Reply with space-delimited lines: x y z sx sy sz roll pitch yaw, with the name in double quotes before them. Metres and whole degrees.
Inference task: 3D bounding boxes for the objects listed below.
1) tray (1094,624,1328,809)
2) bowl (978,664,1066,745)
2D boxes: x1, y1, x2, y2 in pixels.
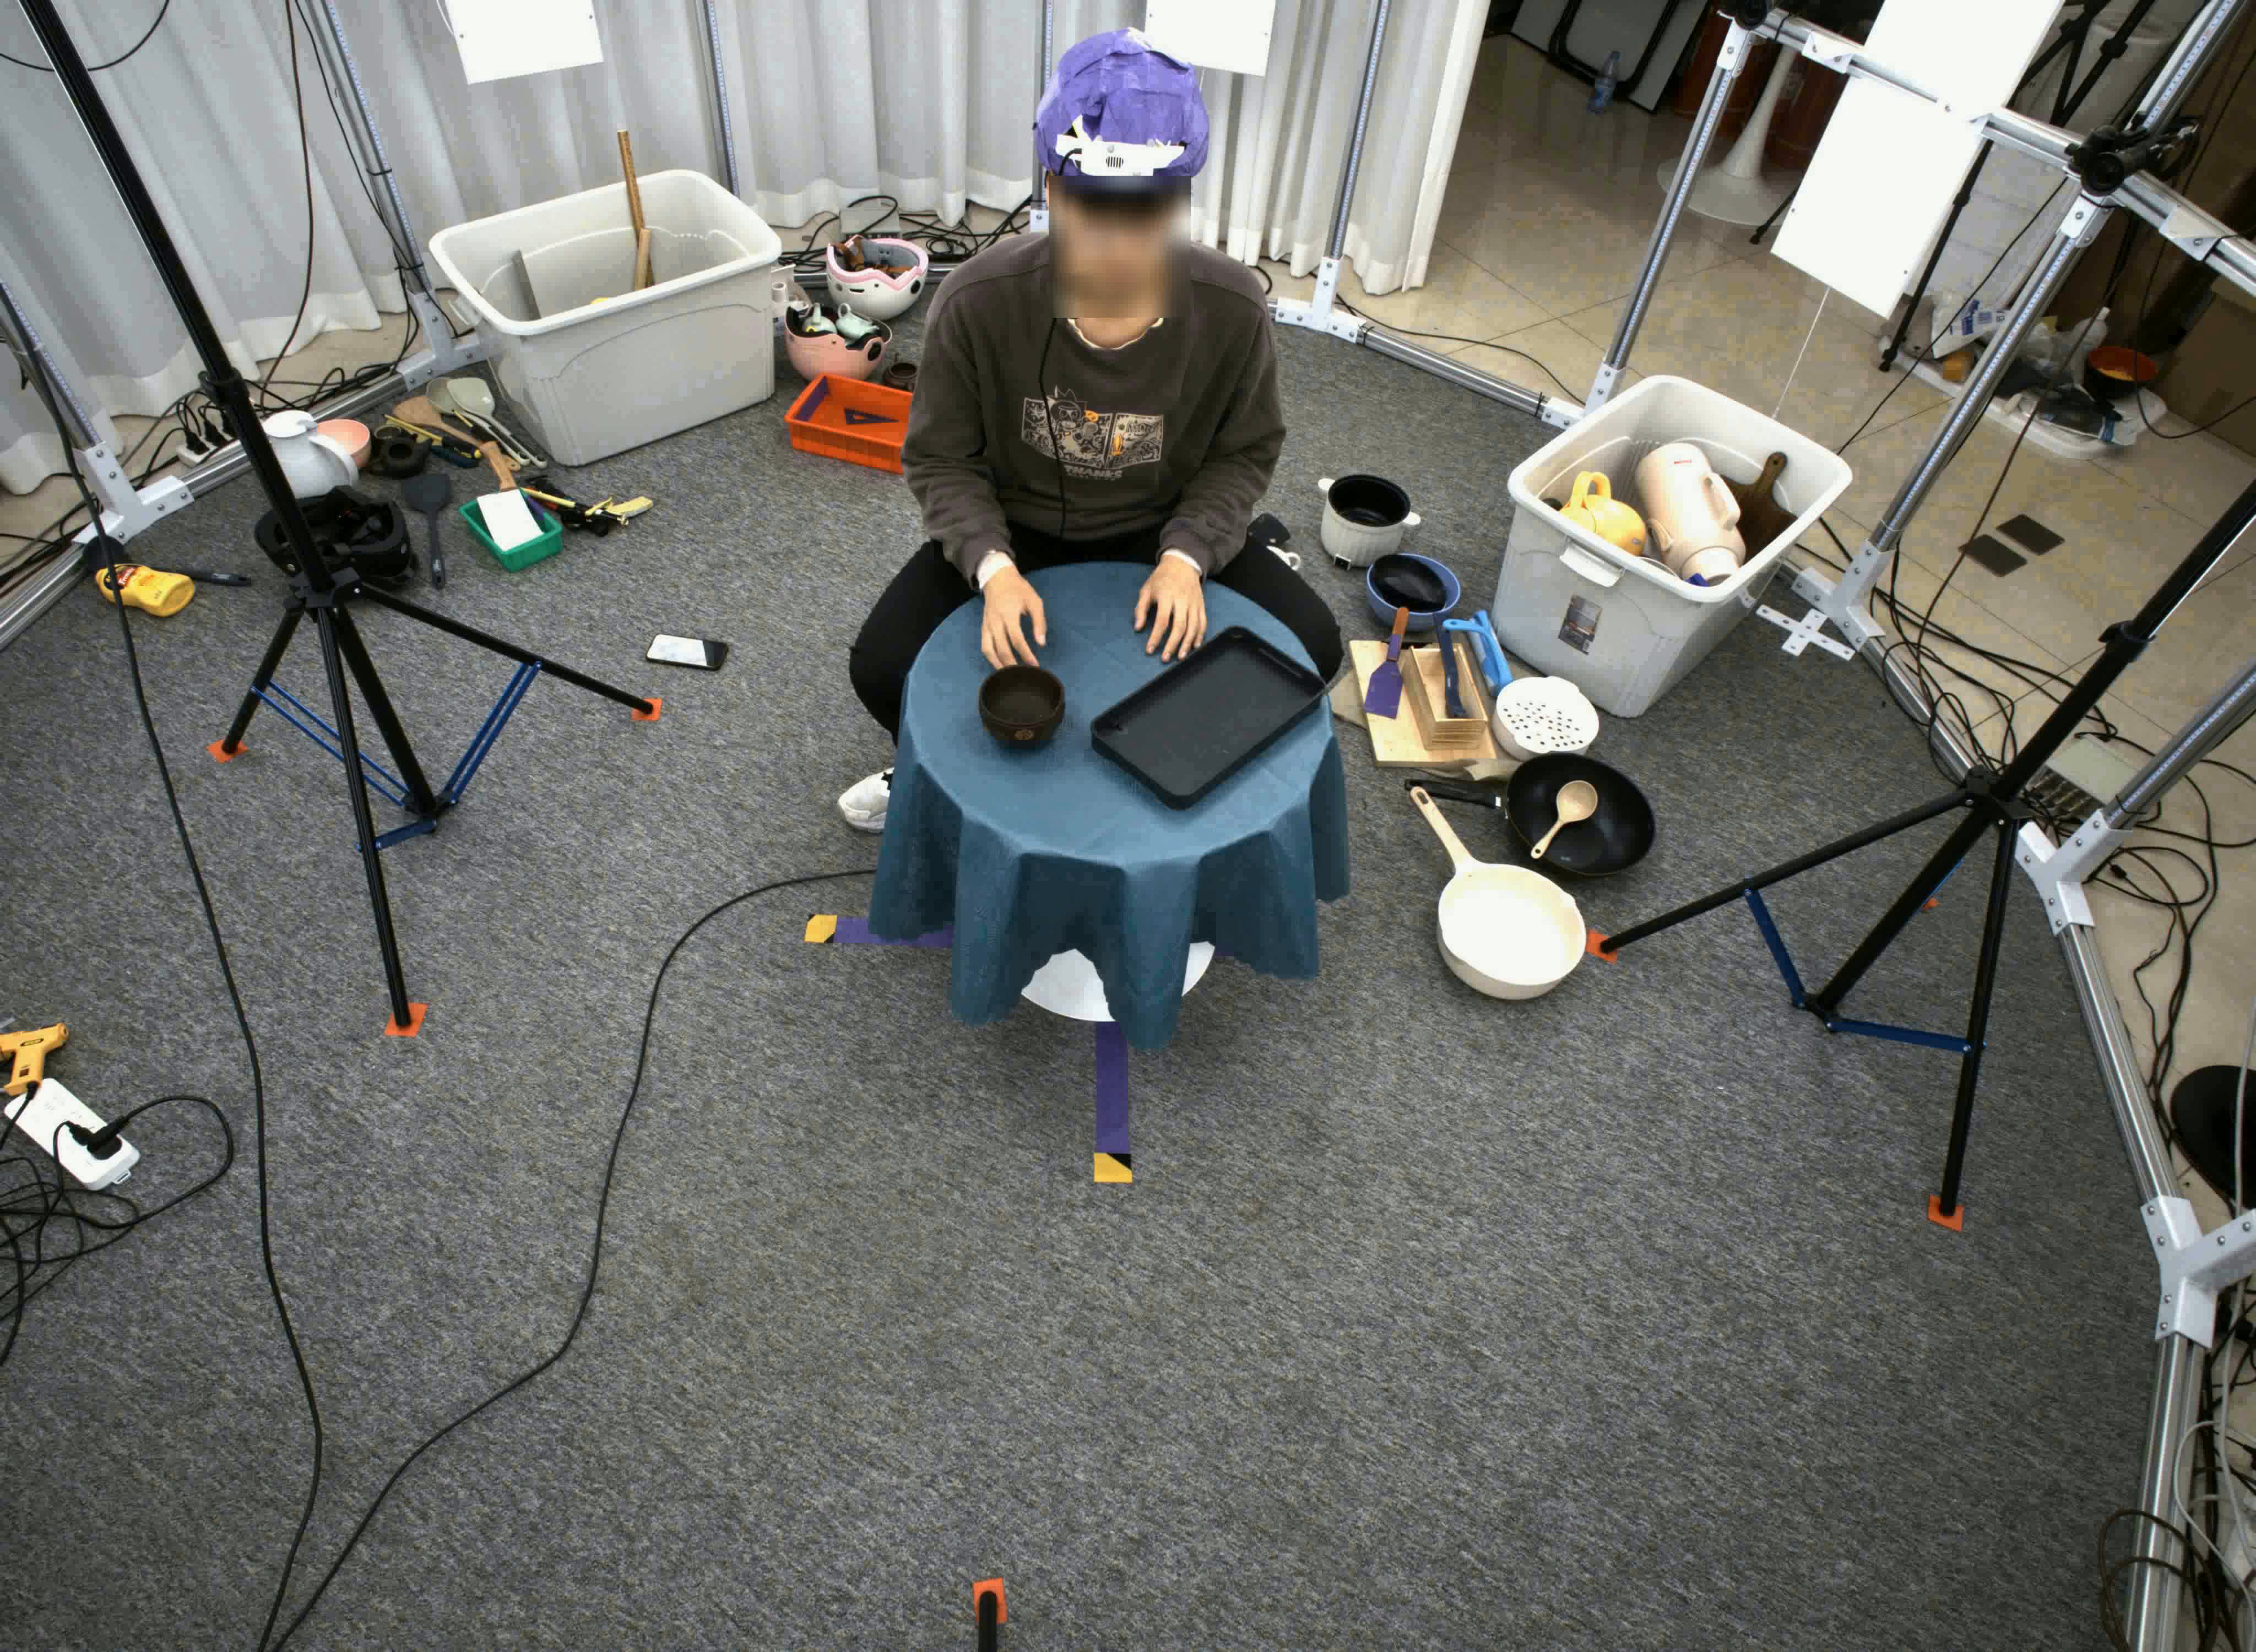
"tray" 0.118 -0.159 1.789 0.187 0.036 0.321 36 56 25
"bowl" -0.144 -0.157 1.747 0.118 0.068 0.121 1 47 -2
